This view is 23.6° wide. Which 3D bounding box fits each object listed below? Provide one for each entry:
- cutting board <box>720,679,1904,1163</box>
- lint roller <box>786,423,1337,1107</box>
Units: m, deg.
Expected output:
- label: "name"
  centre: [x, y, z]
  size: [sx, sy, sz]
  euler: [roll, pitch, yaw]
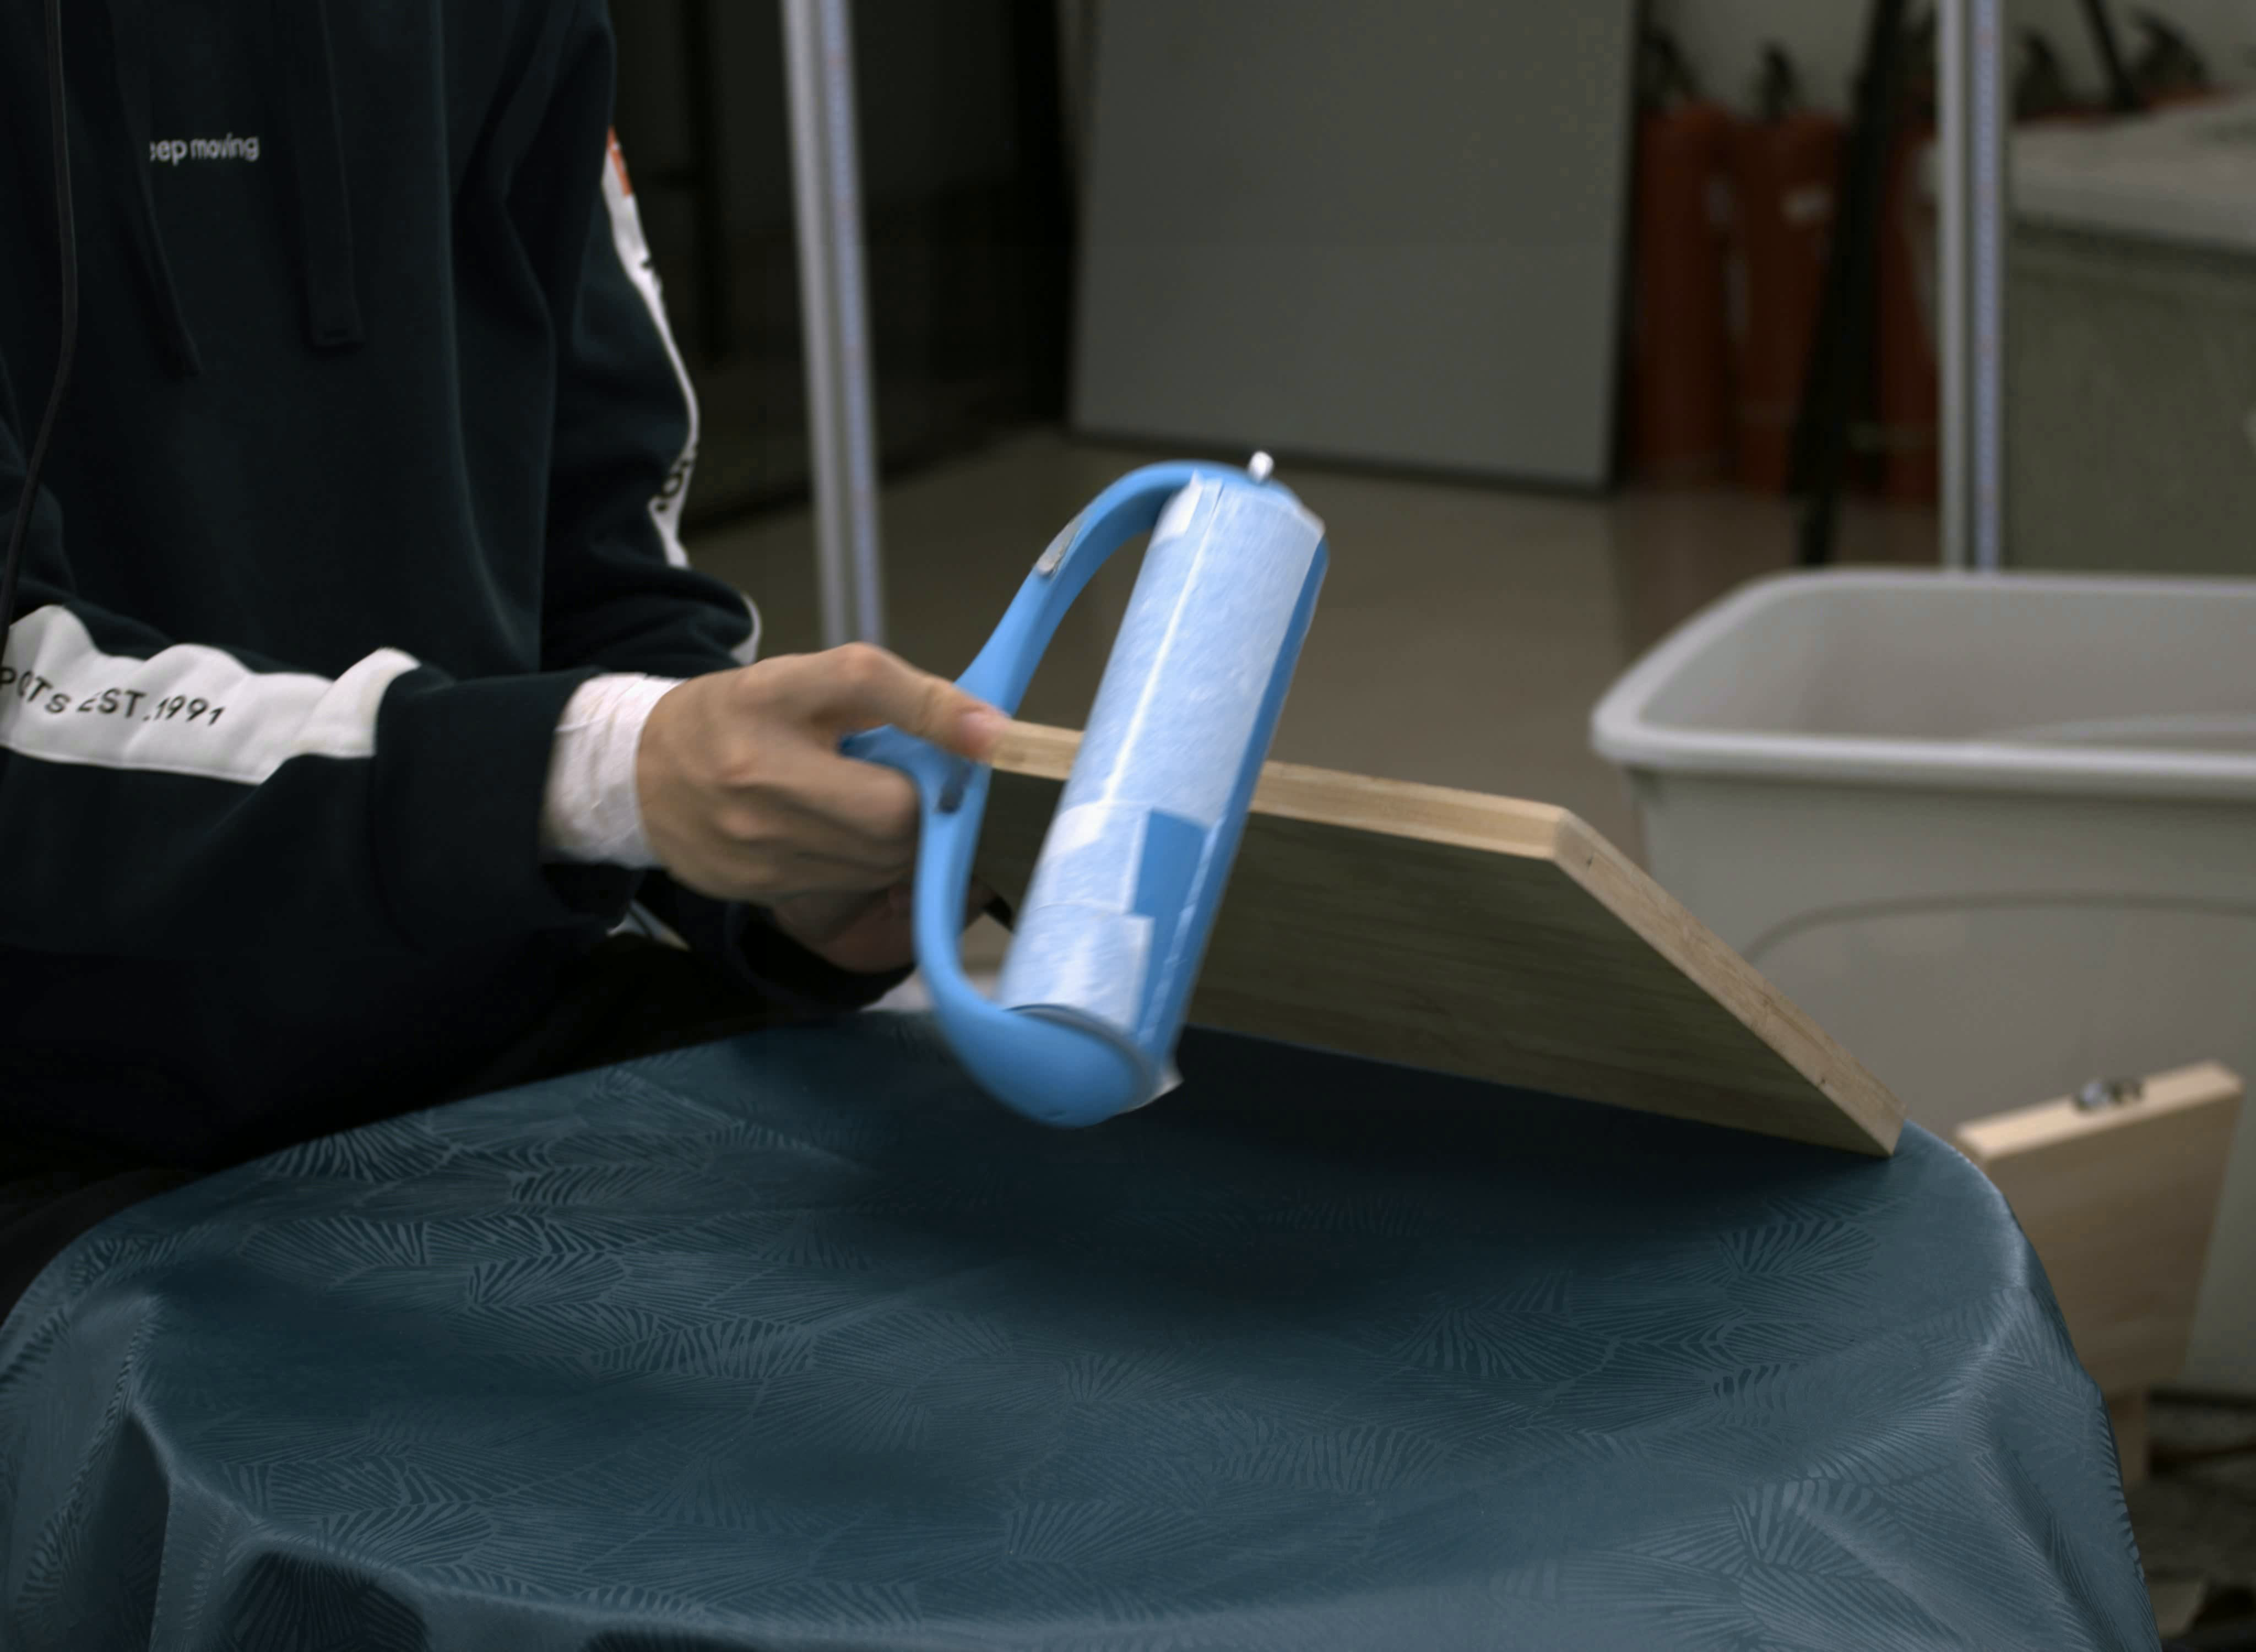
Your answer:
- label: "cutting board"
  centre: [0.058, 0.030, 1.783]
  size: [0.351, 0.024, 0.247]
  euler: [9, -21, 40]
- label: "lint roller"
  centre: [-0.037, -0.015, 1.602]
  size: [0.181, 0.067, 0.230]
  euler: [-6, 54, 28]
